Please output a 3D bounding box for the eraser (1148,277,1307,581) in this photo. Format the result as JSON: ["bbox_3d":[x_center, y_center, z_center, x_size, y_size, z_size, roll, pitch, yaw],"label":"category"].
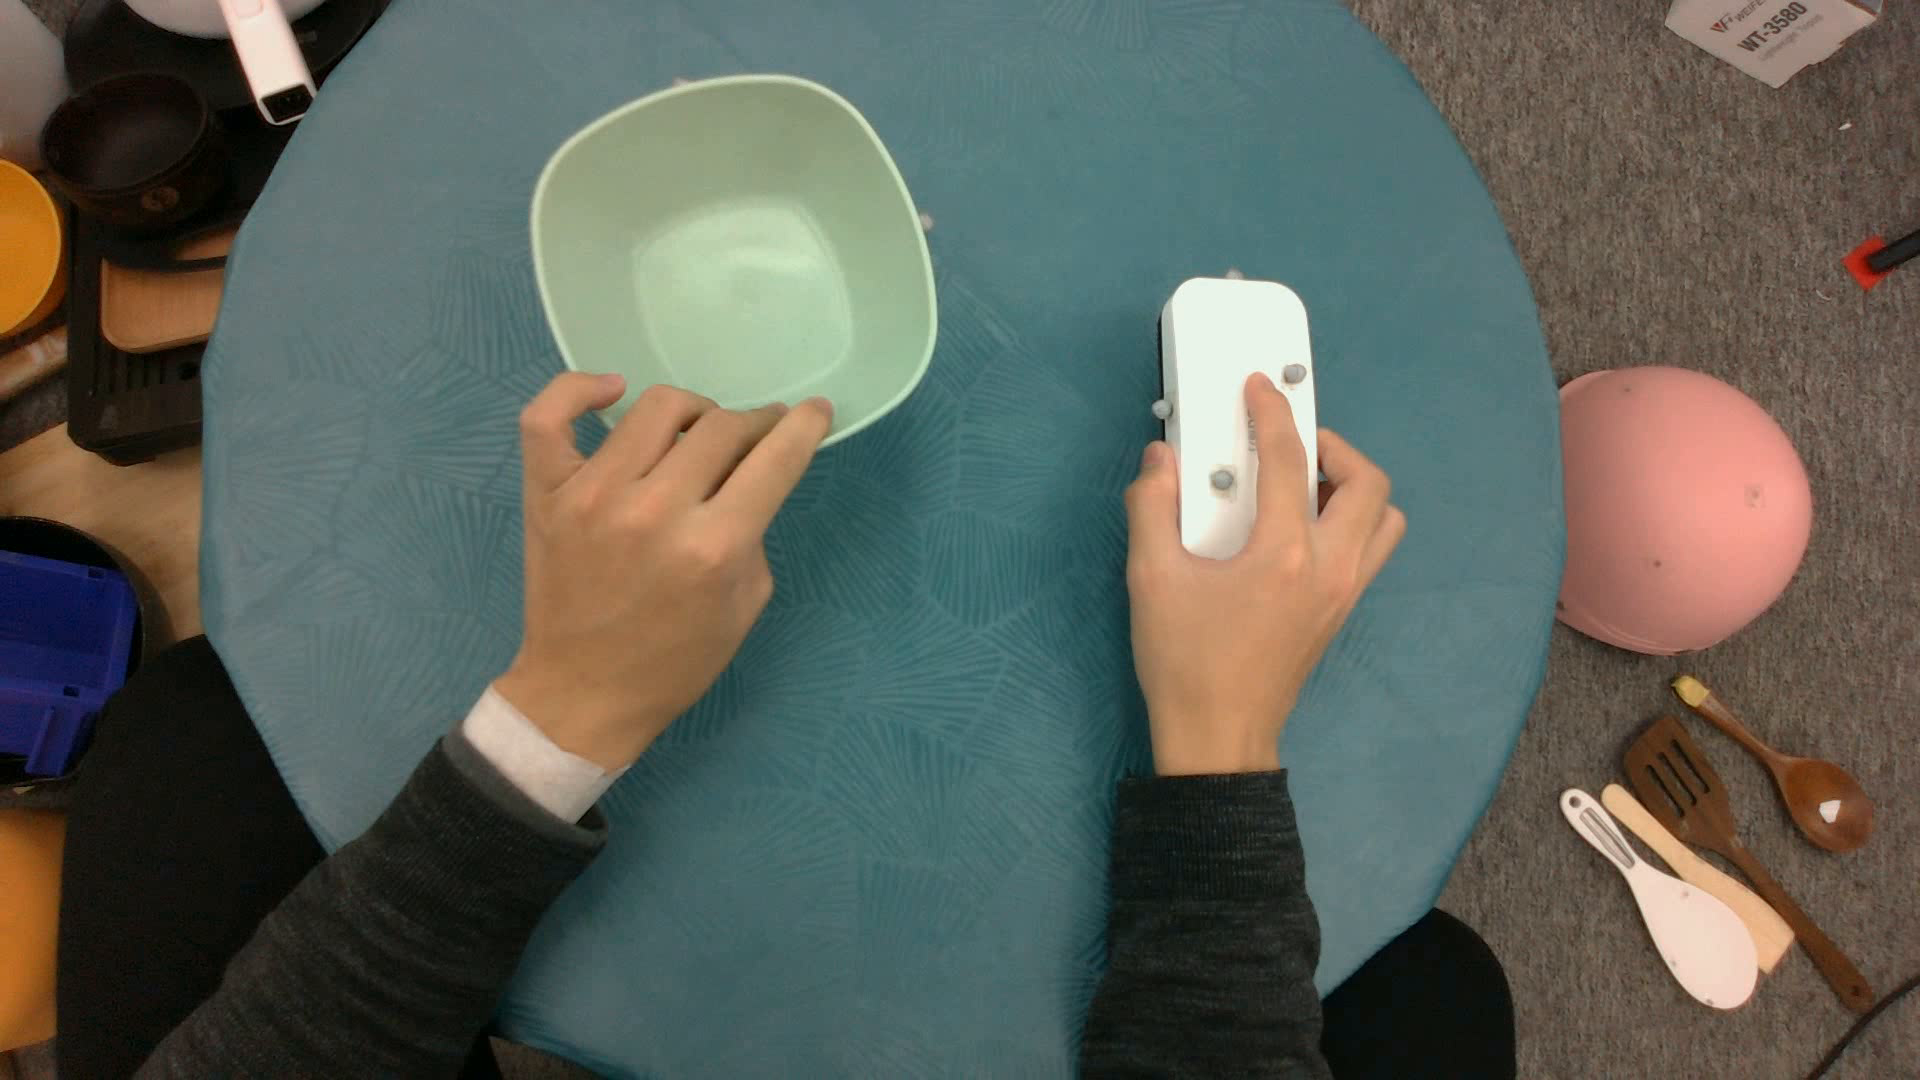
[{"bbox_3d":[0.111,-0.047,0.585,0.063,0.034,0.131,2,79,-13],"label":"eraser"}]

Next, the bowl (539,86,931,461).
[{"bbox_3d":[-0.086,-0.097,0.536,0.151,0.058,0.151,1,84,-8],"label":"bowl"}]
